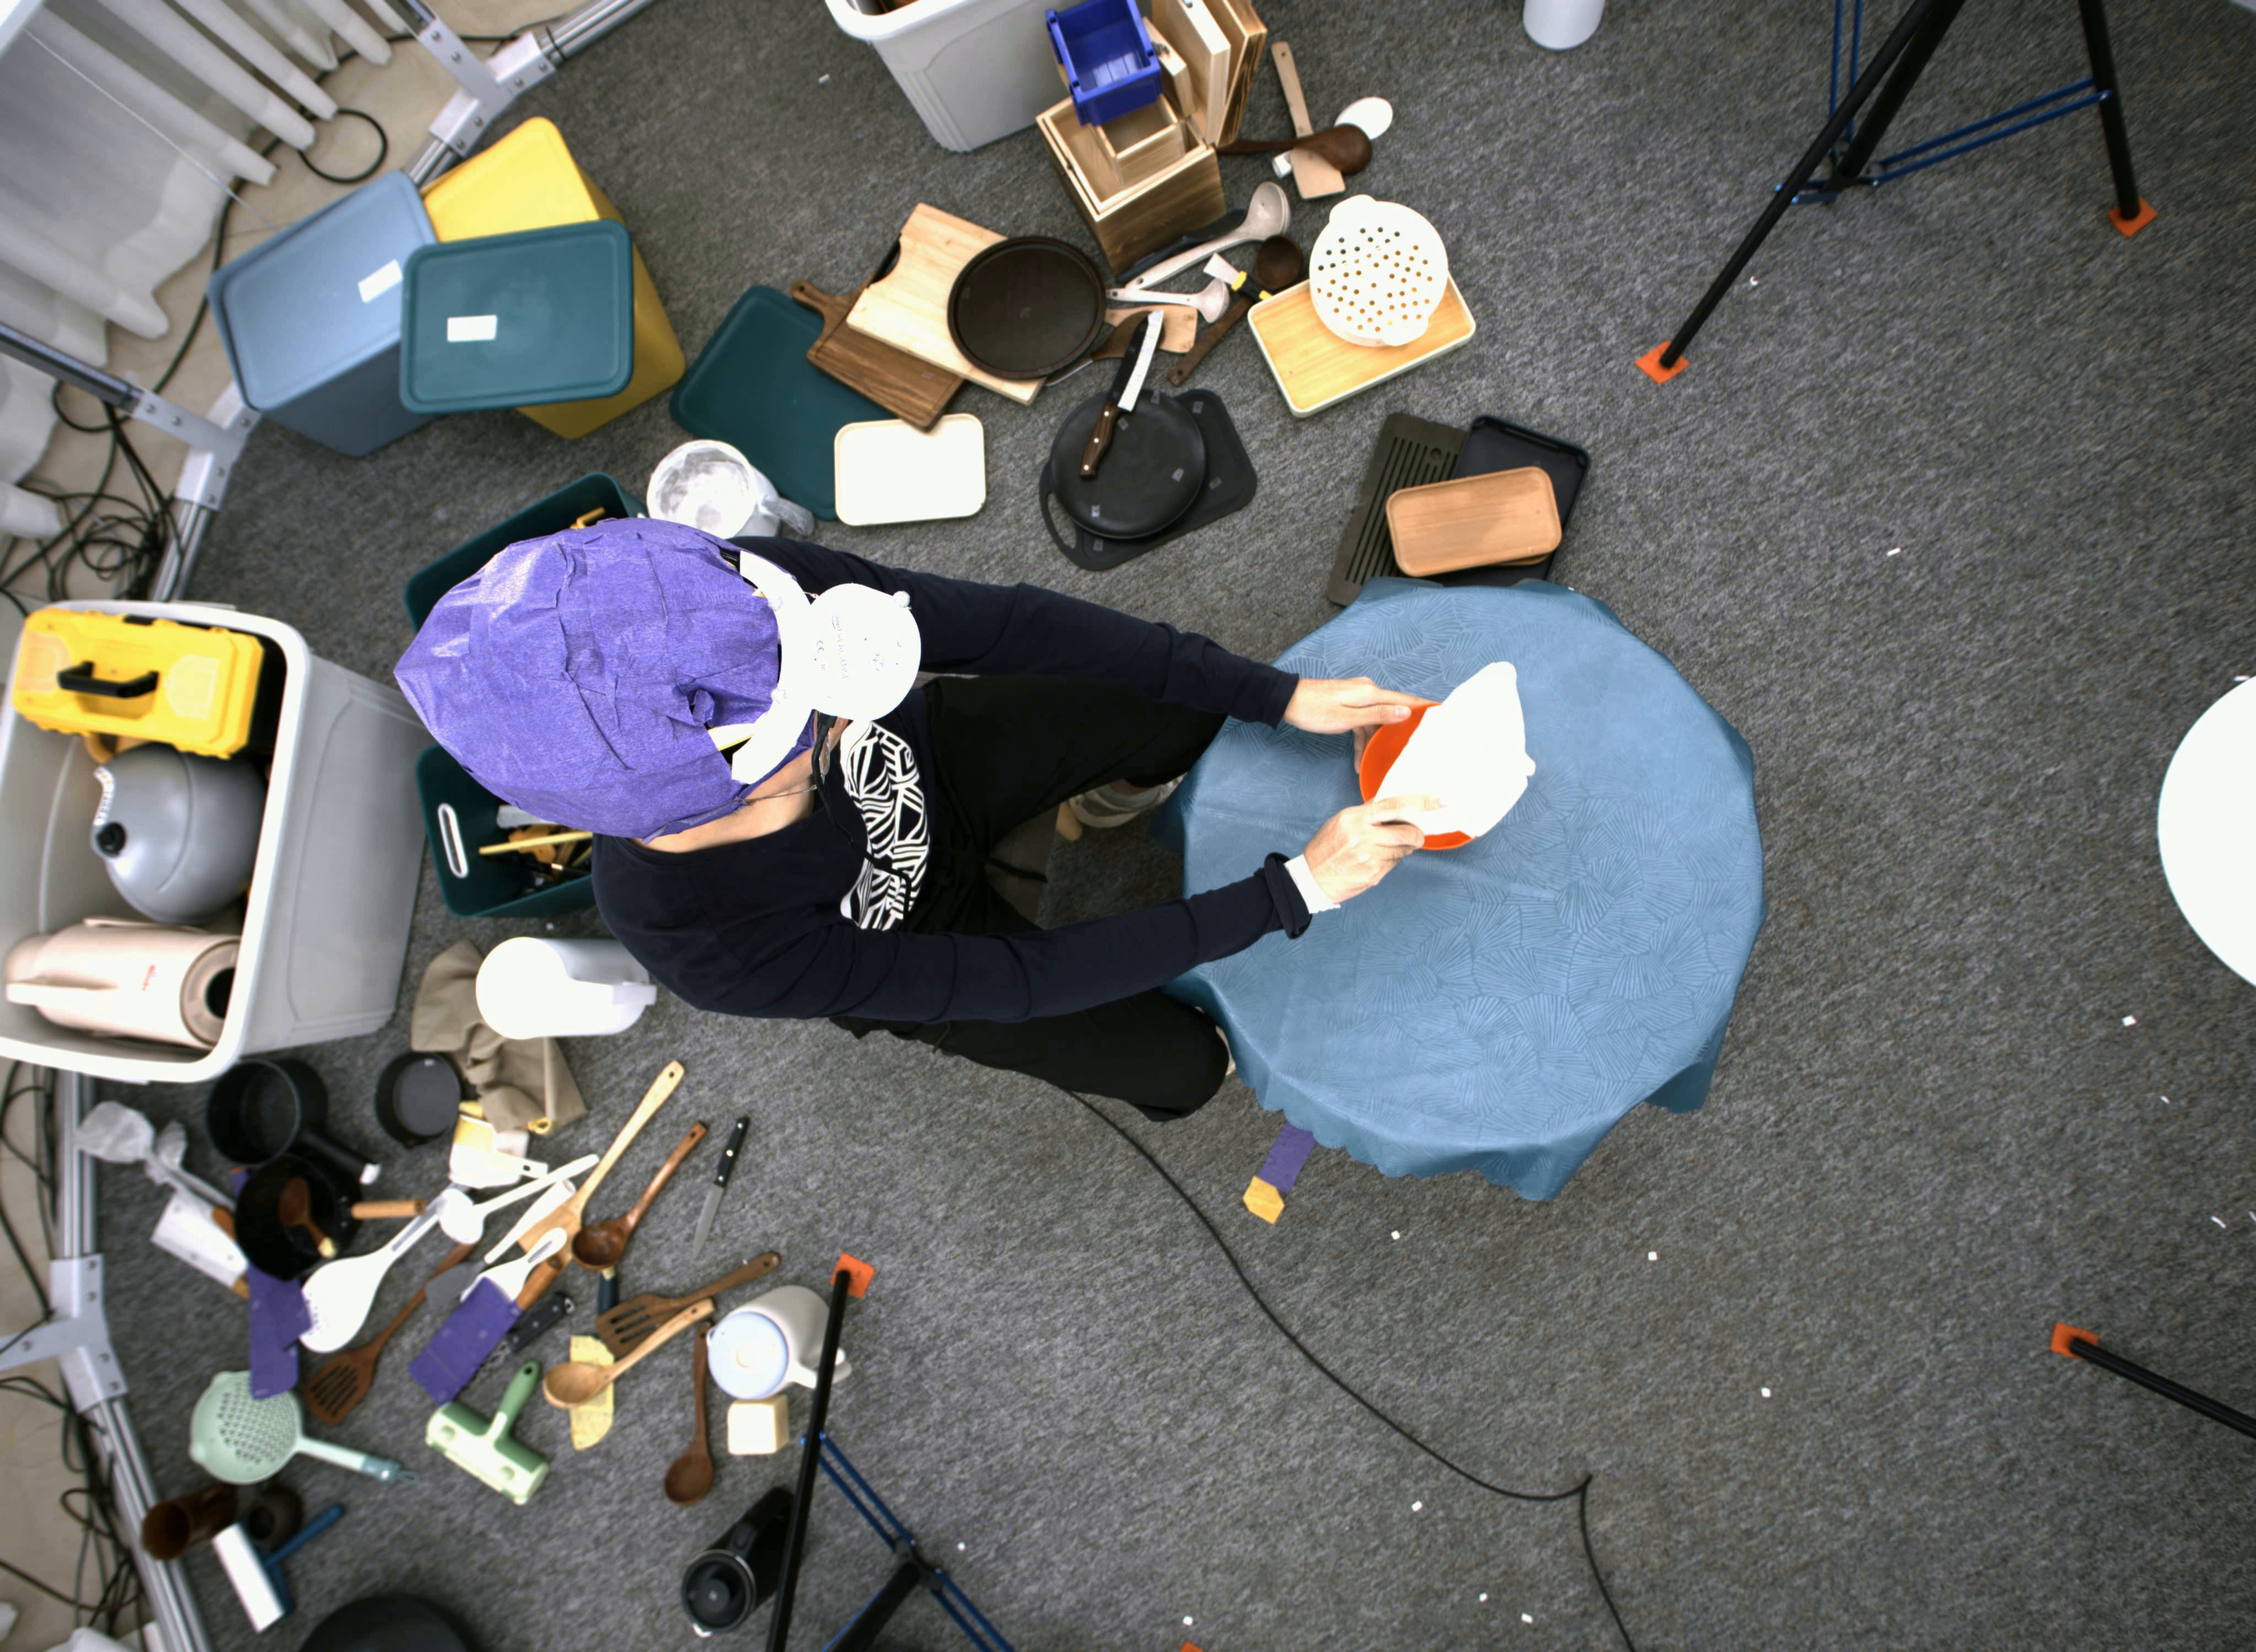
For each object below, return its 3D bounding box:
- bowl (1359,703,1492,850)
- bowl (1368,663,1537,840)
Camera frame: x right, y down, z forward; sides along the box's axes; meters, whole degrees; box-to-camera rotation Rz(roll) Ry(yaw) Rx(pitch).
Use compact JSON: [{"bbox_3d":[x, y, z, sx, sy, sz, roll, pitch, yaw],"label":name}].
[{"bbox_3d":[0.313,-0.046,1.408,0.148,0.104,0.147,-1,86,12],"label":"bowl"},{"bbox_3d":[0.317,-0.047,1.262,0.077,0.205,0.204,43,93,23],"label":"bowl"}]
